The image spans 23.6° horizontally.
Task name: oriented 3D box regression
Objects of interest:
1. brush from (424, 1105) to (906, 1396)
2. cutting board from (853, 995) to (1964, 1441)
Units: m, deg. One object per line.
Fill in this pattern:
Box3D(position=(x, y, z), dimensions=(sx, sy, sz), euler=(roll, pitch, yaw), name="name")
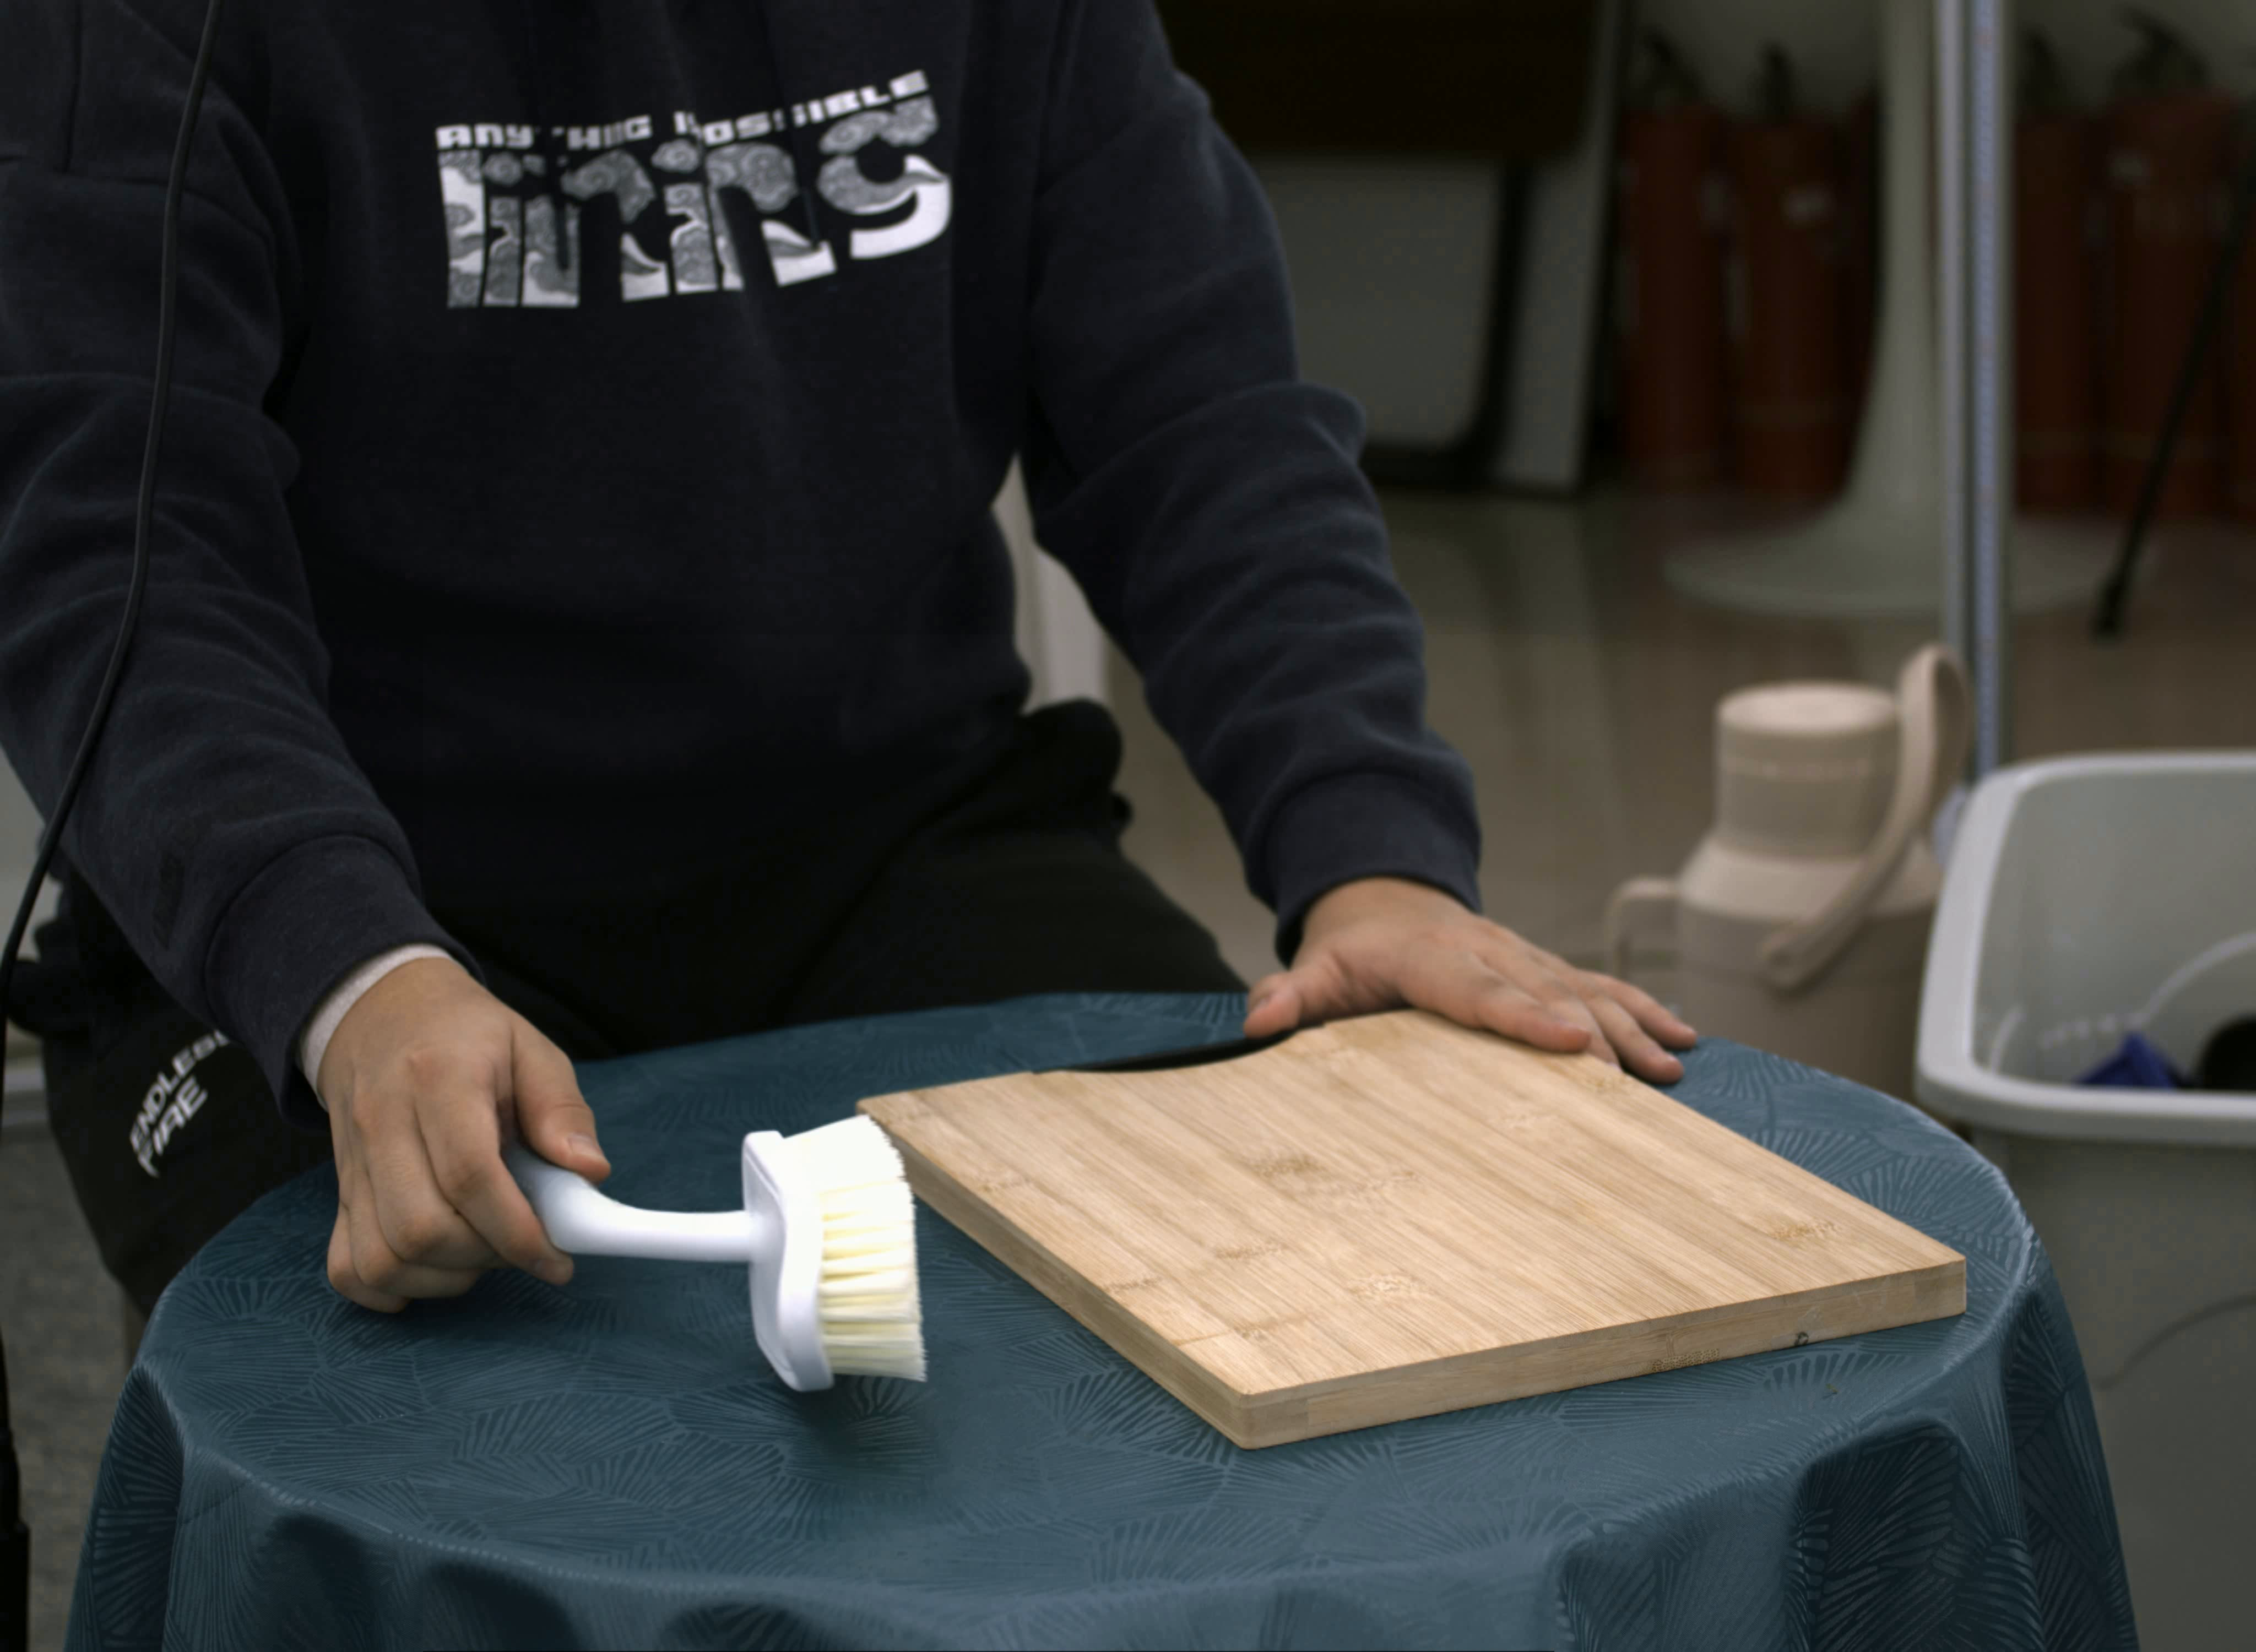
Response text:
Box3D(position=(-0.128, 0.115, 1.664), dimensions=(0.083, 0.083, 0.328), euler=(30, -7, -23), name="brush")
Box3D(position=(0.078, 0.119, 1.725), dimensions=(0.245, 0.024, 0.352), euler=(-9, 14, -21), name="cutting board")
